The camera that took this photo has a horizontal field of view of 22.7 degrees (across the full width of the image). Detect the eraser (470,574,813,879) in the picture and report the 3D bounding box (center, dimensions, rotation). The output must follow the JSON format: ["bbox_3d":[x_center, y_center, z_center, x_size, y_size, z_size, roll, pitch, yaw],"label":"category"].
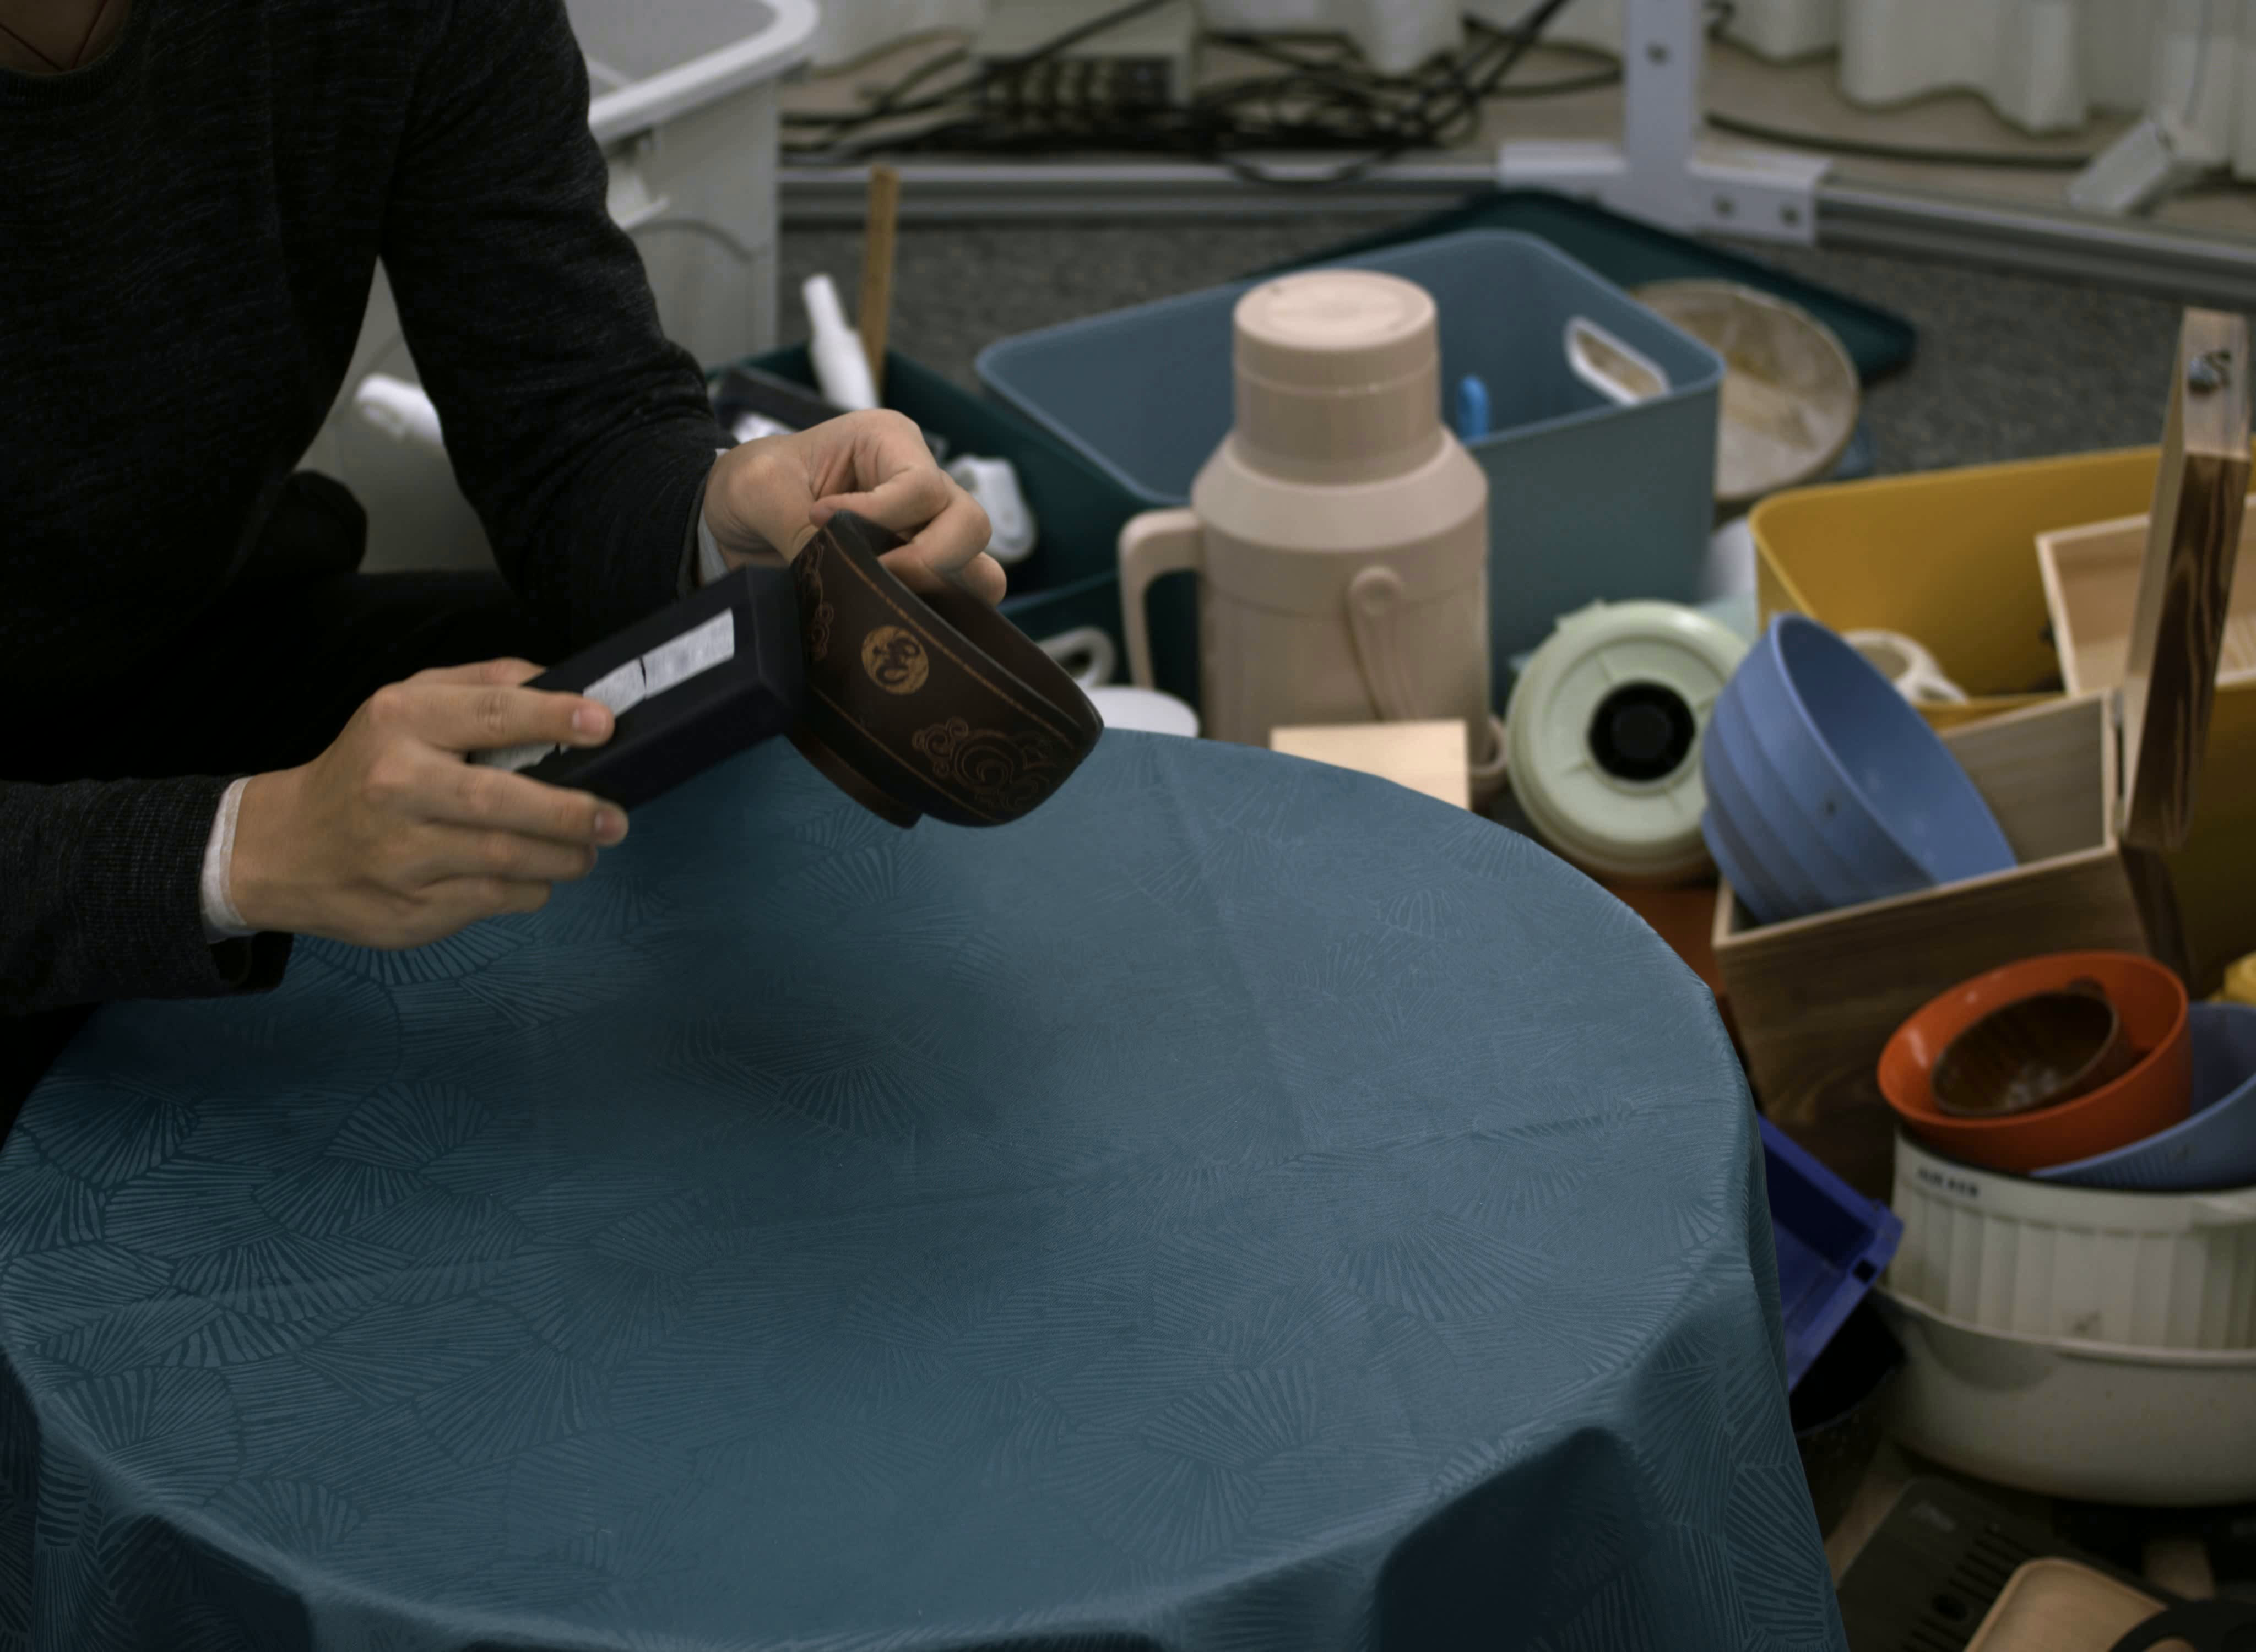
[{"bbox_3d":[-0.158,-0.032,1.827,0.124,0.030,0.054,-27,49,23],"label":"eraser"}]

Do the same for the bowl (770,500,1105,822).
[{"bbox_3d":[-0.073,-0.046,1.866,0.118,0.069,0.119,37,9,-6],"label":"bowl"}]
